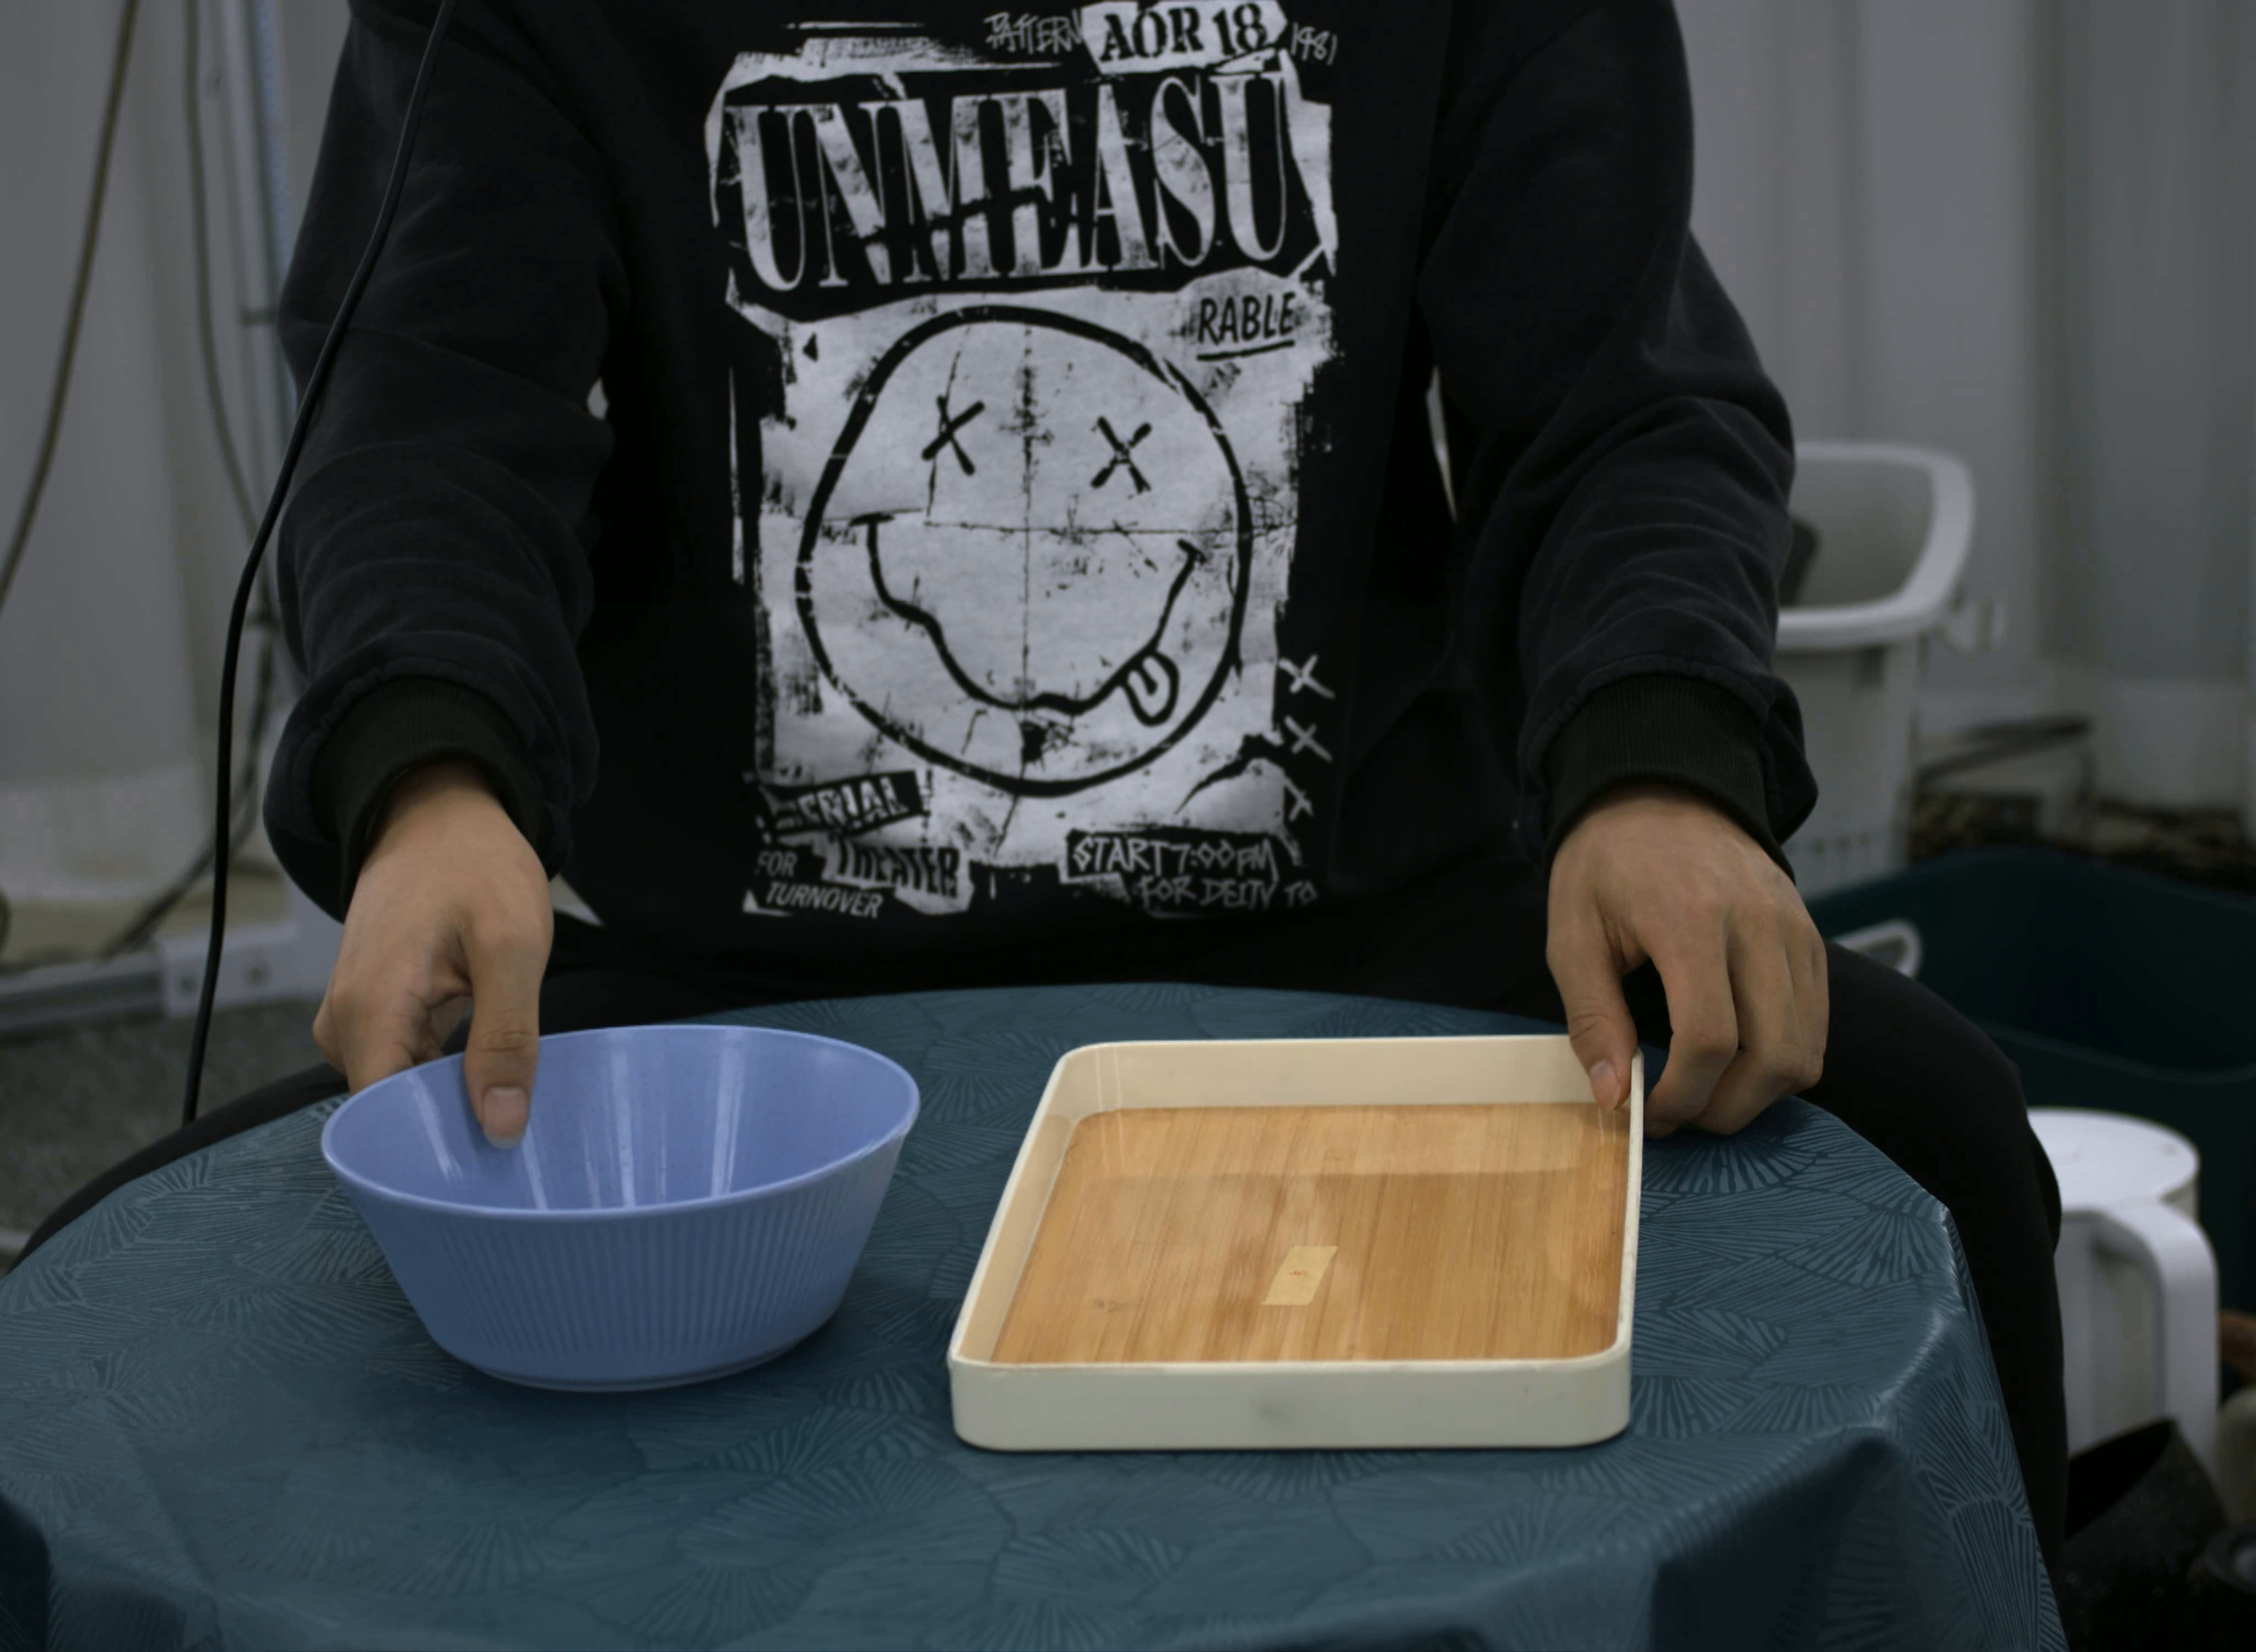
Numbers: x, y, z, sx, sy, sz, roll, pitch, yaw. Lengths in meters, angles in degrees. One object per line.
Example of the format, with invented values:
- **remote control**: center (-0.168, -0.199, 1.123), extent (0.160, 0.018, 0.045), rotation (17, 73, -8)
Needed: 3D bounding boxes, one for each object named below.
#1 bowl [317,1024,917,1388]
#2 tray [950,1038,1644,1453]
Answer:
- **bowl**: center (-0.148, 0.114, 1.607), extent (0.175, 0.070, 0.177), rotation (-2, 15, 0)
- **tray**: center (0.058, 0.121, 1.630), extent (0.191, 0.027, 0.302), rotation (0, 15, 6)
